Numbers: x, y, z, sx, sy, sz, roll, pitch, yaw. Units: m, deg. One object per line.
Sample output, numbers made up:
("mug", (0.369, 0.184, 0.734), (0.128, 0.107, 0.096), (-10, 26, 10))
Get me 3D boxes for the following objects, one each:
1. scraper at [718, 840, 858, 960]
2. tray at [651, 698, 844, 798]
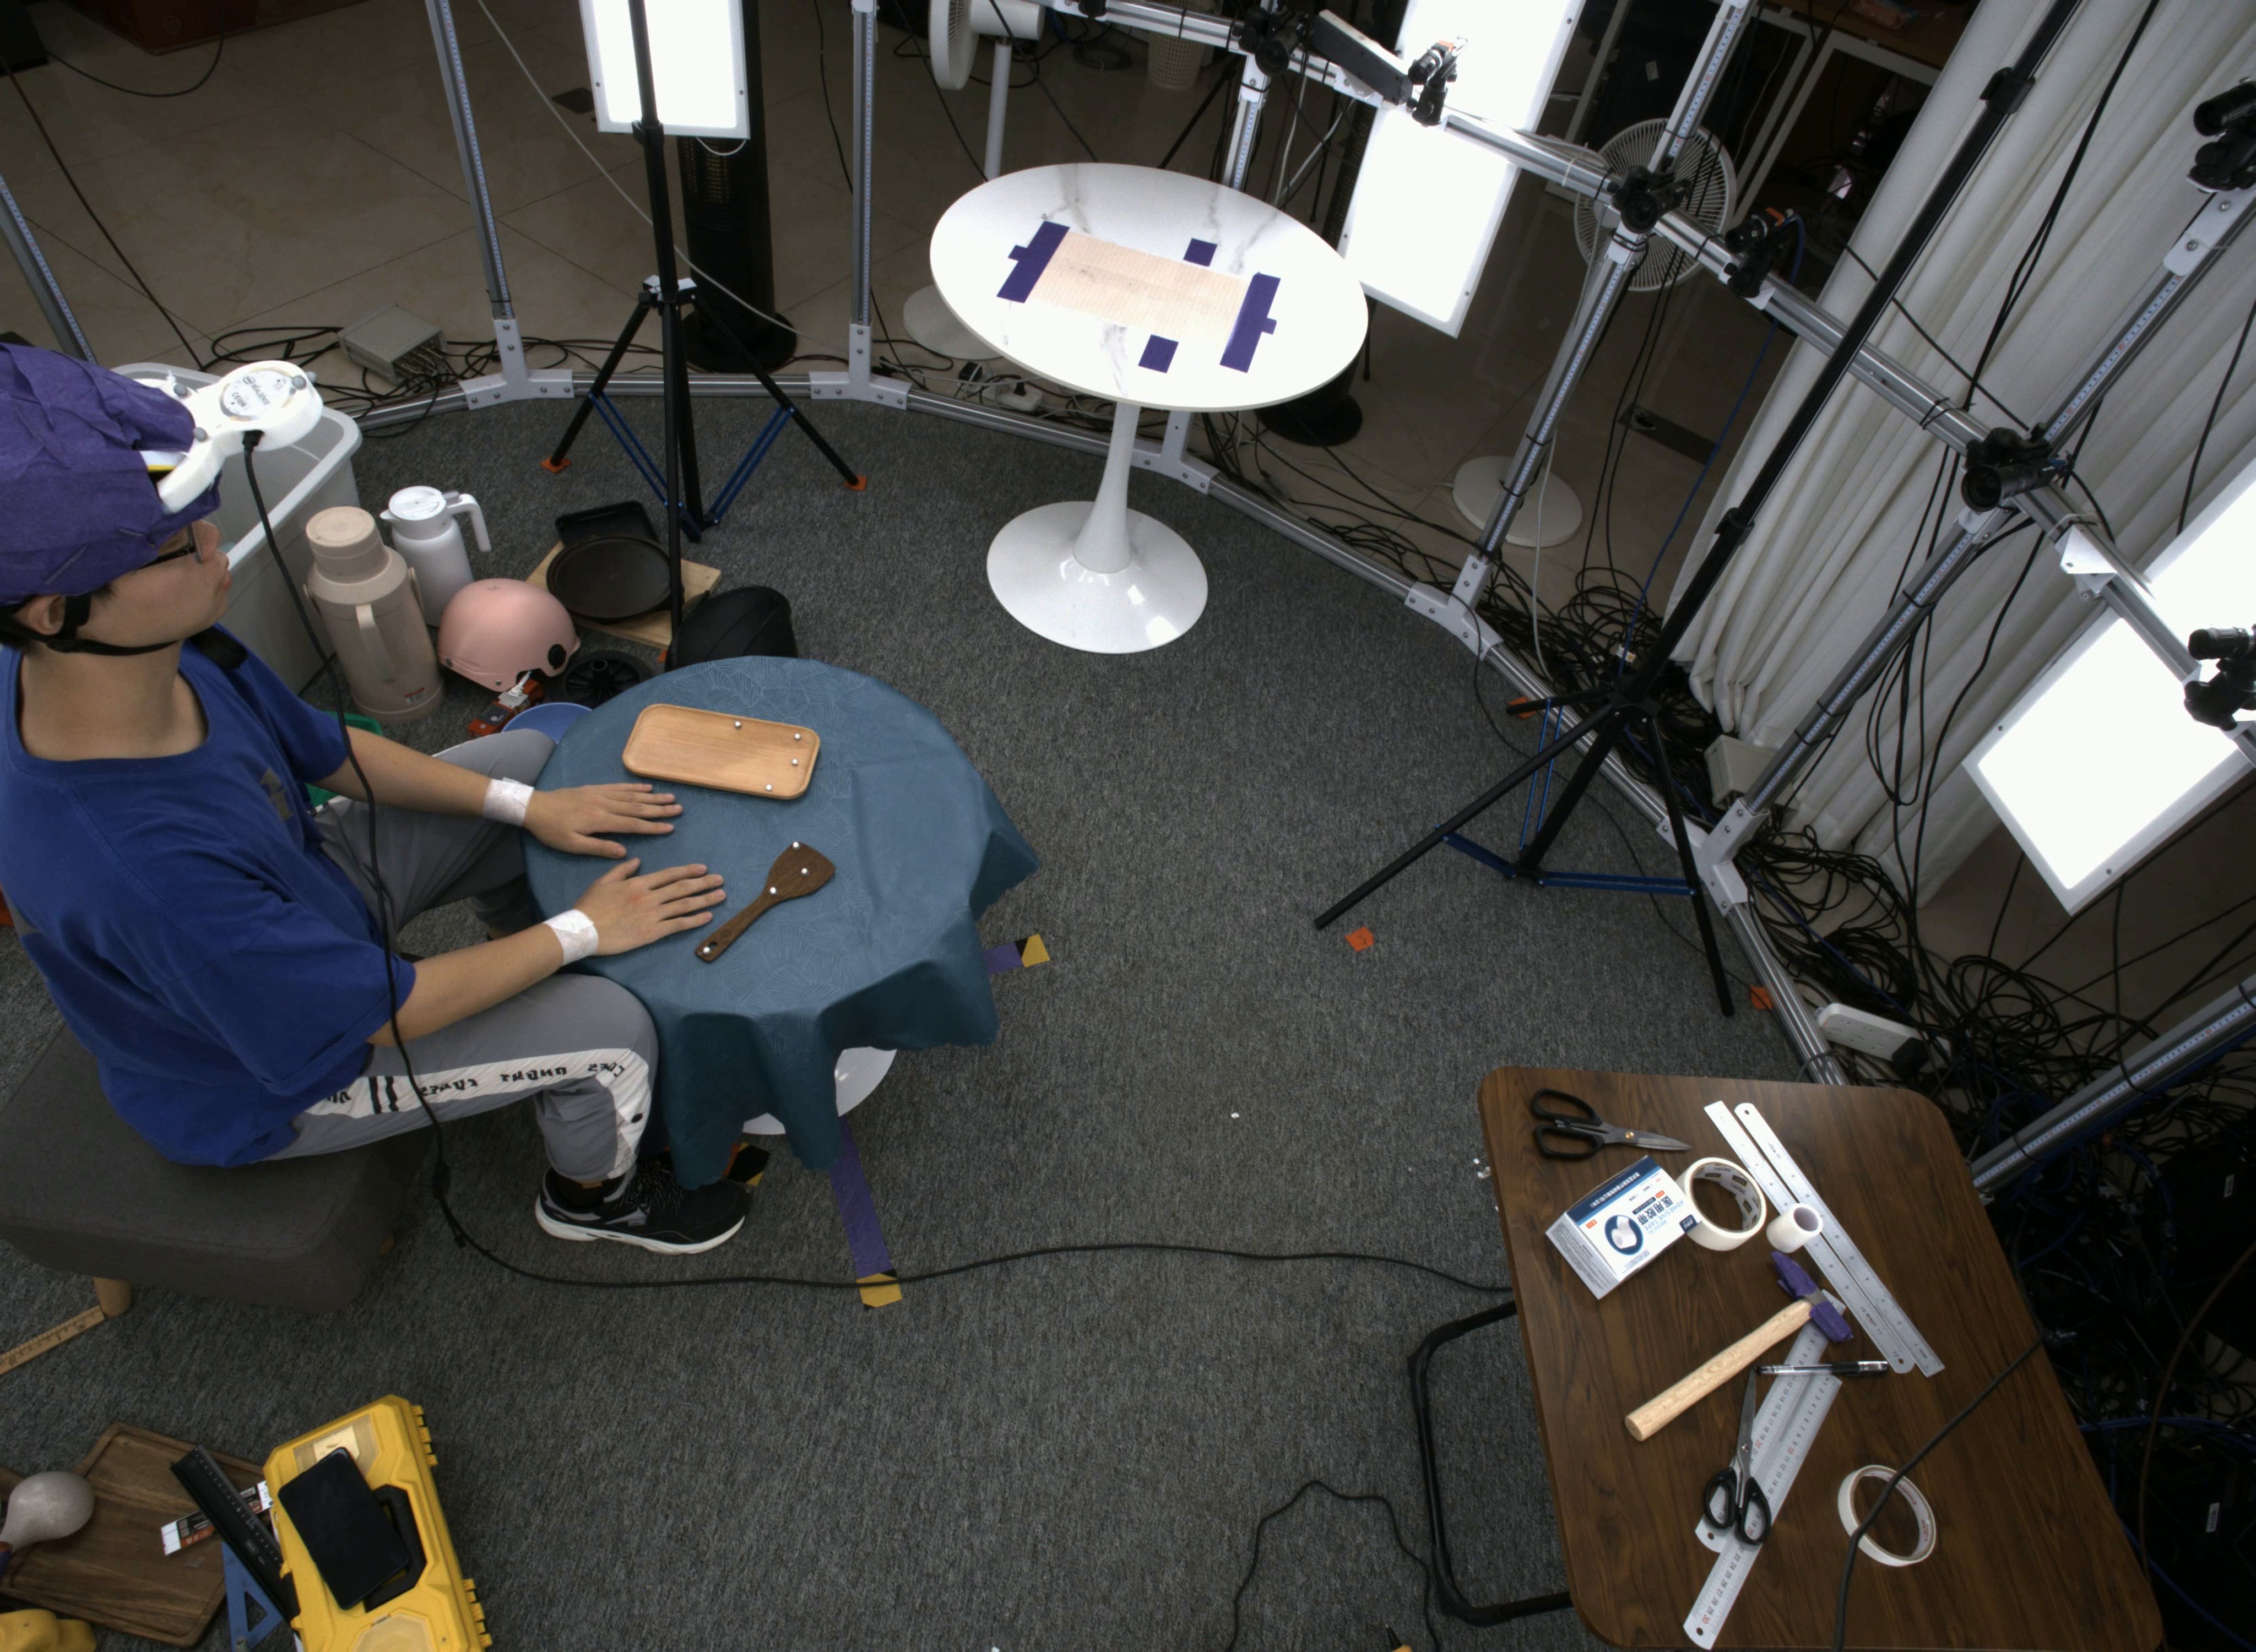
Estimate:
("scraper", (-0.439, 0.095, 1.654), (0.074, 0.011, 0.211), (35, 55, 14))
("tray", (-0.523, -0.108, 1.778), (0.249, 0.023, 0.128), (11, 50, -5))
